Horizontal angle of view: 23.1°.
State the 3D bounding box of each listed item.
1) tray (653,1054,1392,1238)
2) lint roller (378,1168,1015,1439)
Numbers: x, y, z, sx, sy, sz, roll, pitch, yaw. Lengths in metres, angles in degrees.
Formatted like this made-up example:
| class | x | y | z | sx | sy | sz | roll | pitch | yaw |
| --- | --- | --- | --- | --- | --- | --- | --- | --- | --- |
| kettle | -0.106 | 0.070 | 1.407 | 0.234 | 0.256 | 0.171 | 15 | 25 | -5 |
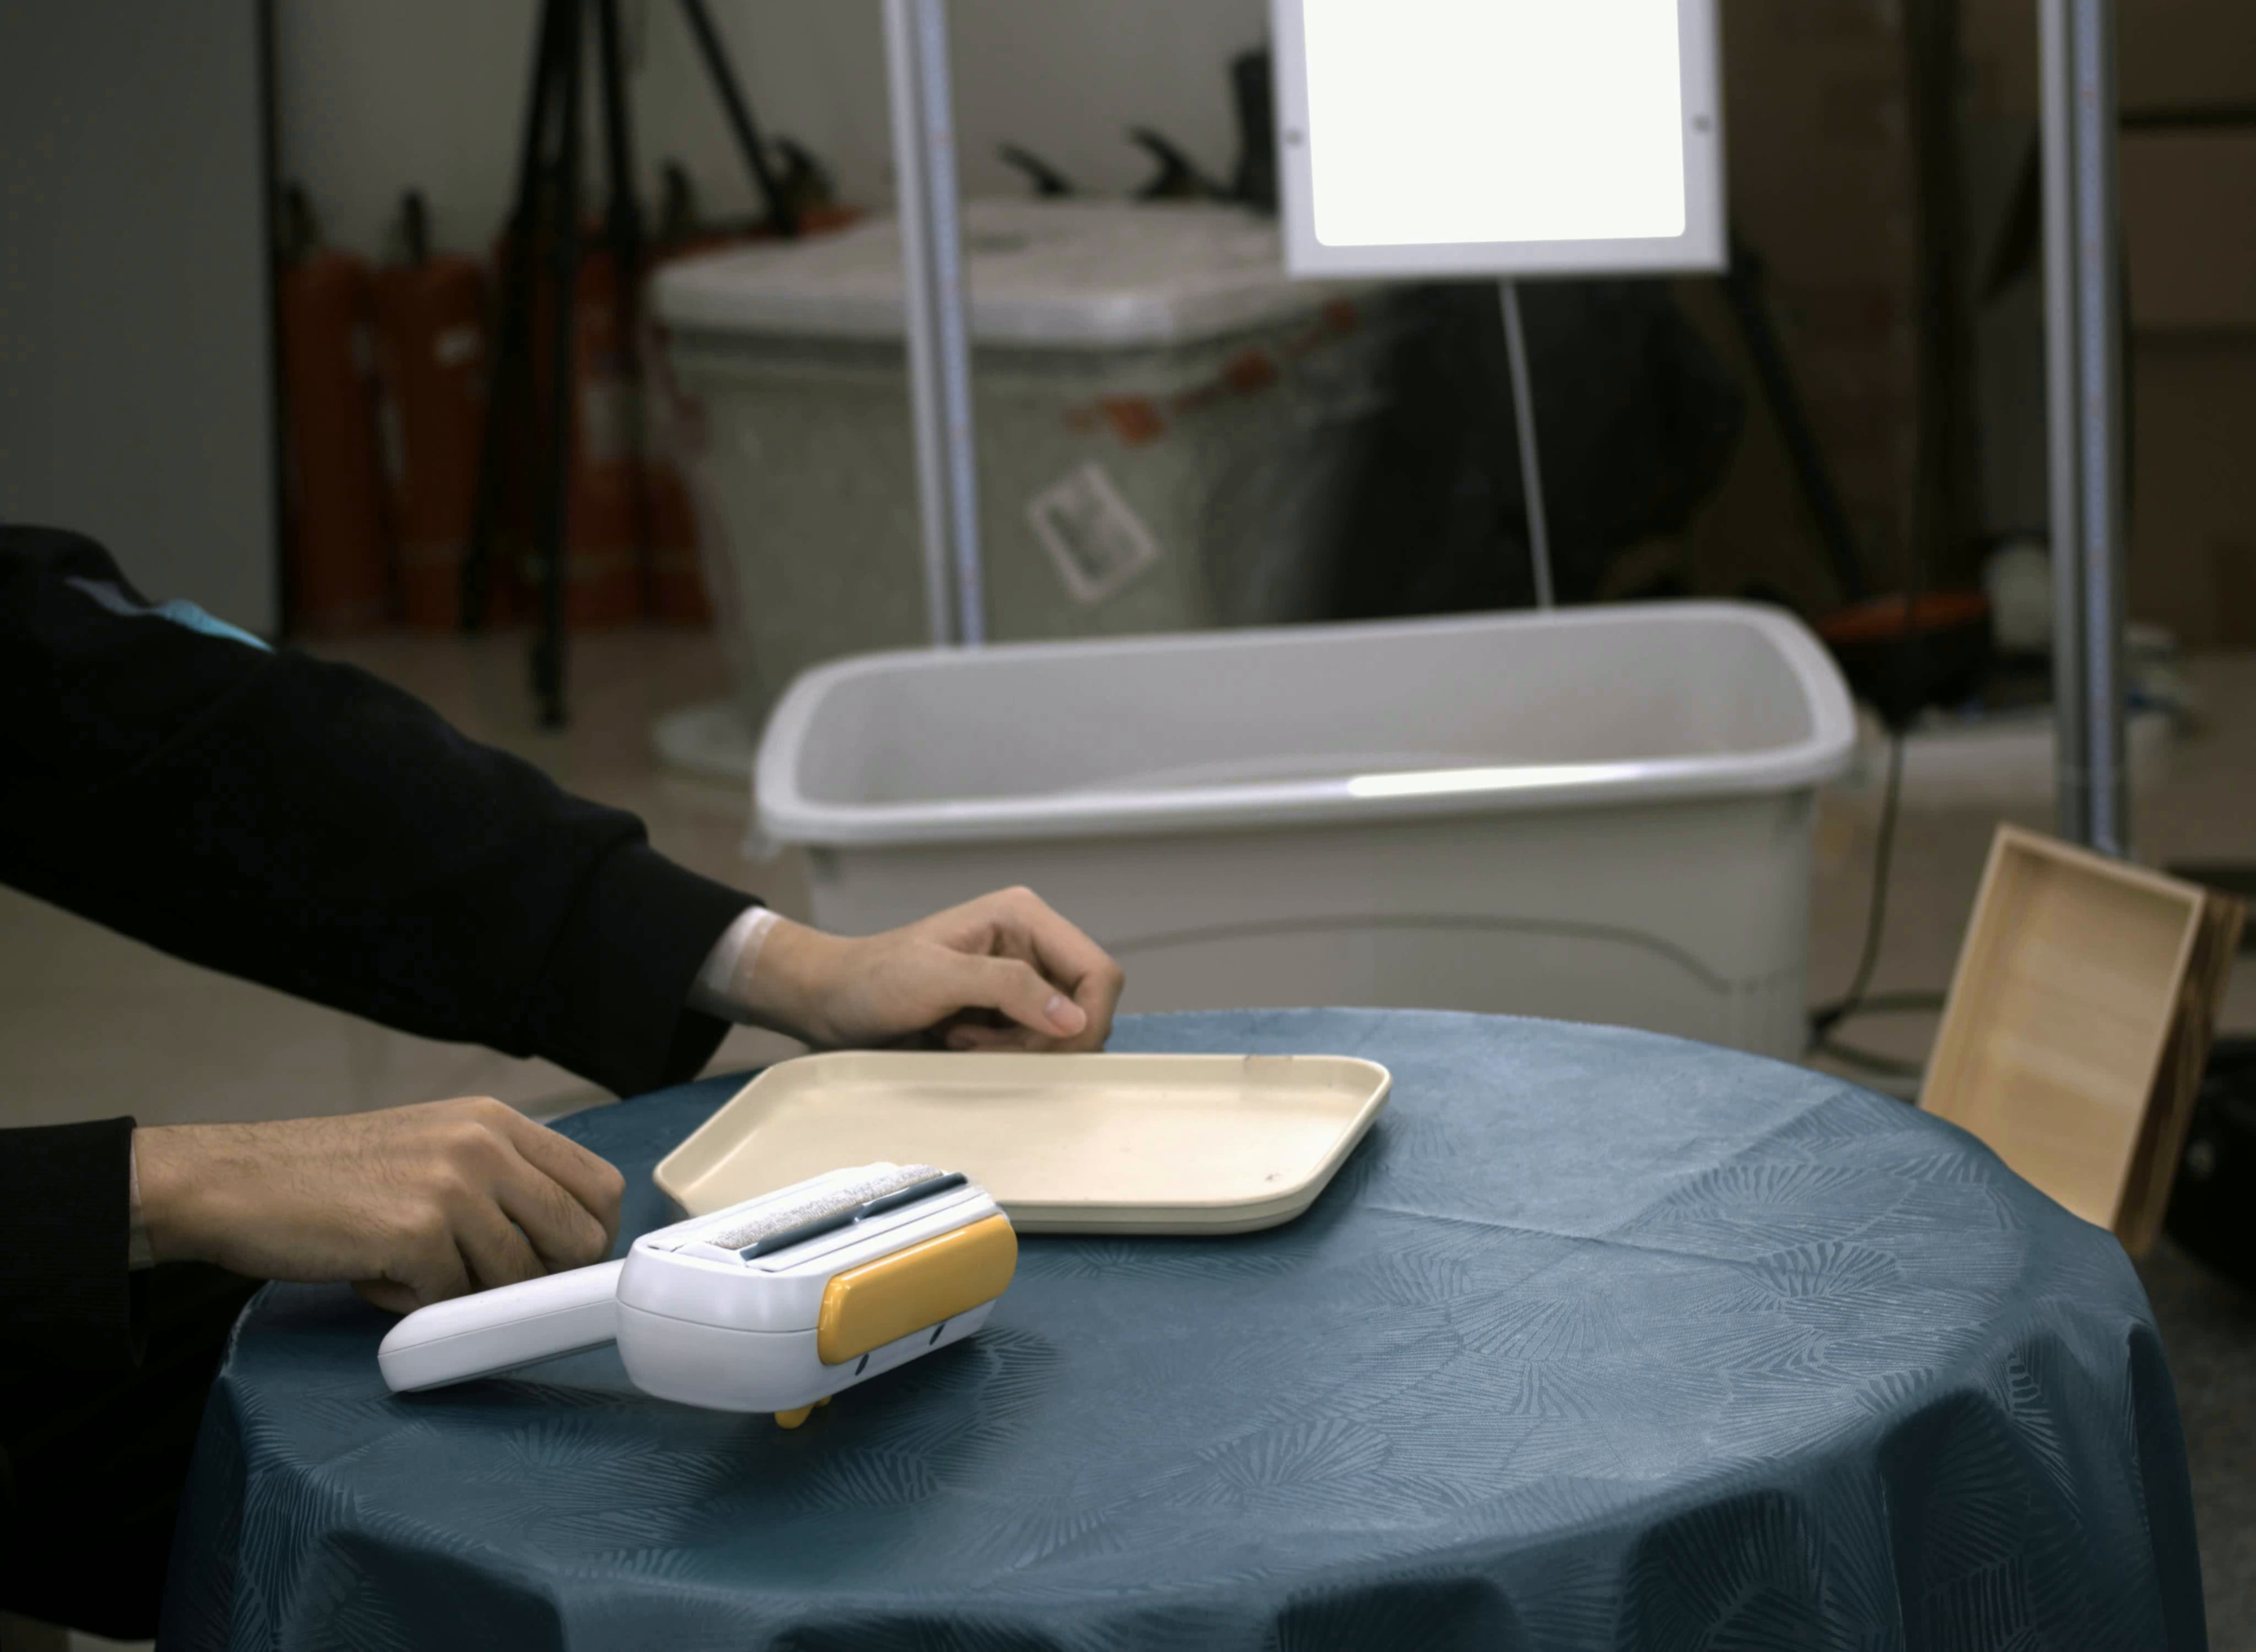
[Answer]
| class | x | y | z | sx | sy | sz | roll | pitch | yaw |
| --- | --- | --- | --- | --- | --- | --- | --- | --- | --- |
| tray | -0.035 | 0.112 | 1.931 | 0.242 | 0.017 | 0.168 | -1 | 15 | 18 |
| lint roller | -0.150 | 0.149 | 1.719 | 0.196 | 0.074 | 0.189 | 0 | 9 | 26 |
